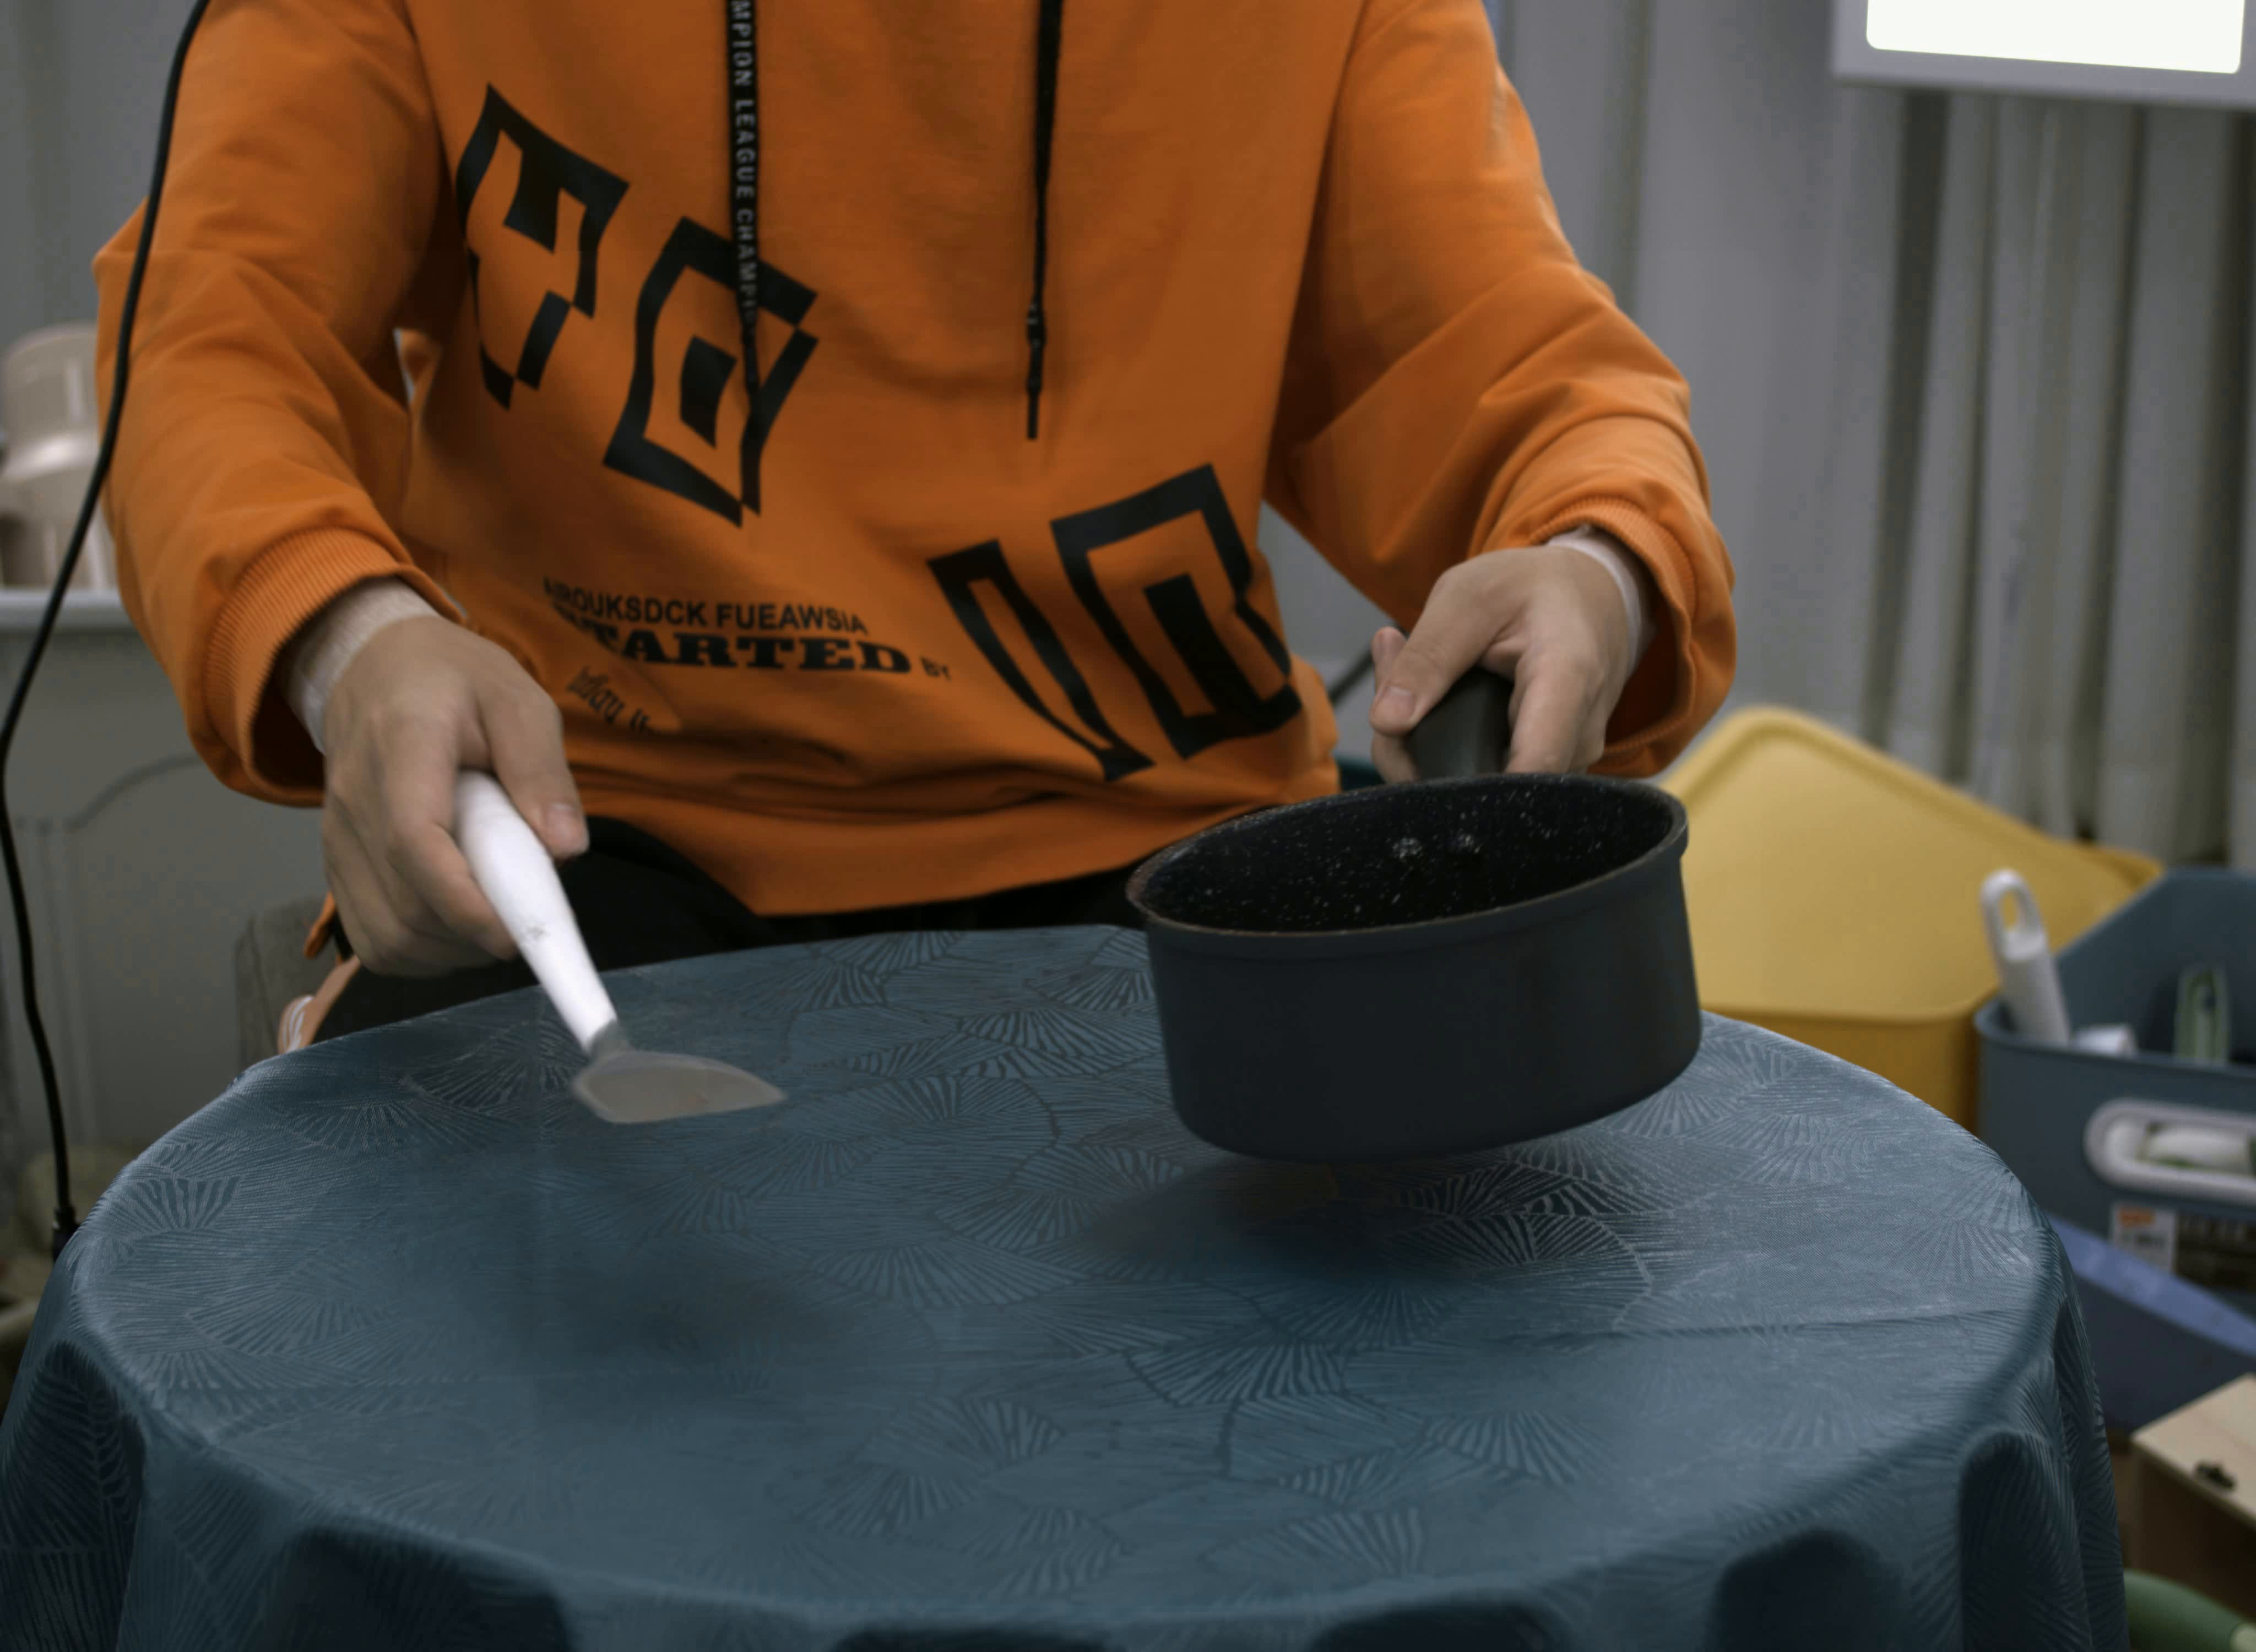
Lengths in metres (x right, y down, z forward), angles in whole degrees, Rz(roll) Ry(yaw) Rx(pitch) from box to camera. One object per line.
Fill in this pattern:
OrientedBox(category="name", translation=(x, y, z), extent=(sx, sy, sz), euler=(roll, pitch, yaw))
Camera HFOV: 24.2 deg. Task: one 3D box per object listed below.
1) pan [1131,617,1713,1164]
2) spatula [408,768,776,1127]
OrientedBox(category="pan", translation=(0.104, 0.016, 1.669), extent=(0.171, 0.087, 0.328), euler=(-5, 16, 12))
OrientedBox(category="spatula", translation=(-0.170, 0.042, 1.587), extent=(0.059, 0.032, 0.284), euler=(-2, 20, -21))
